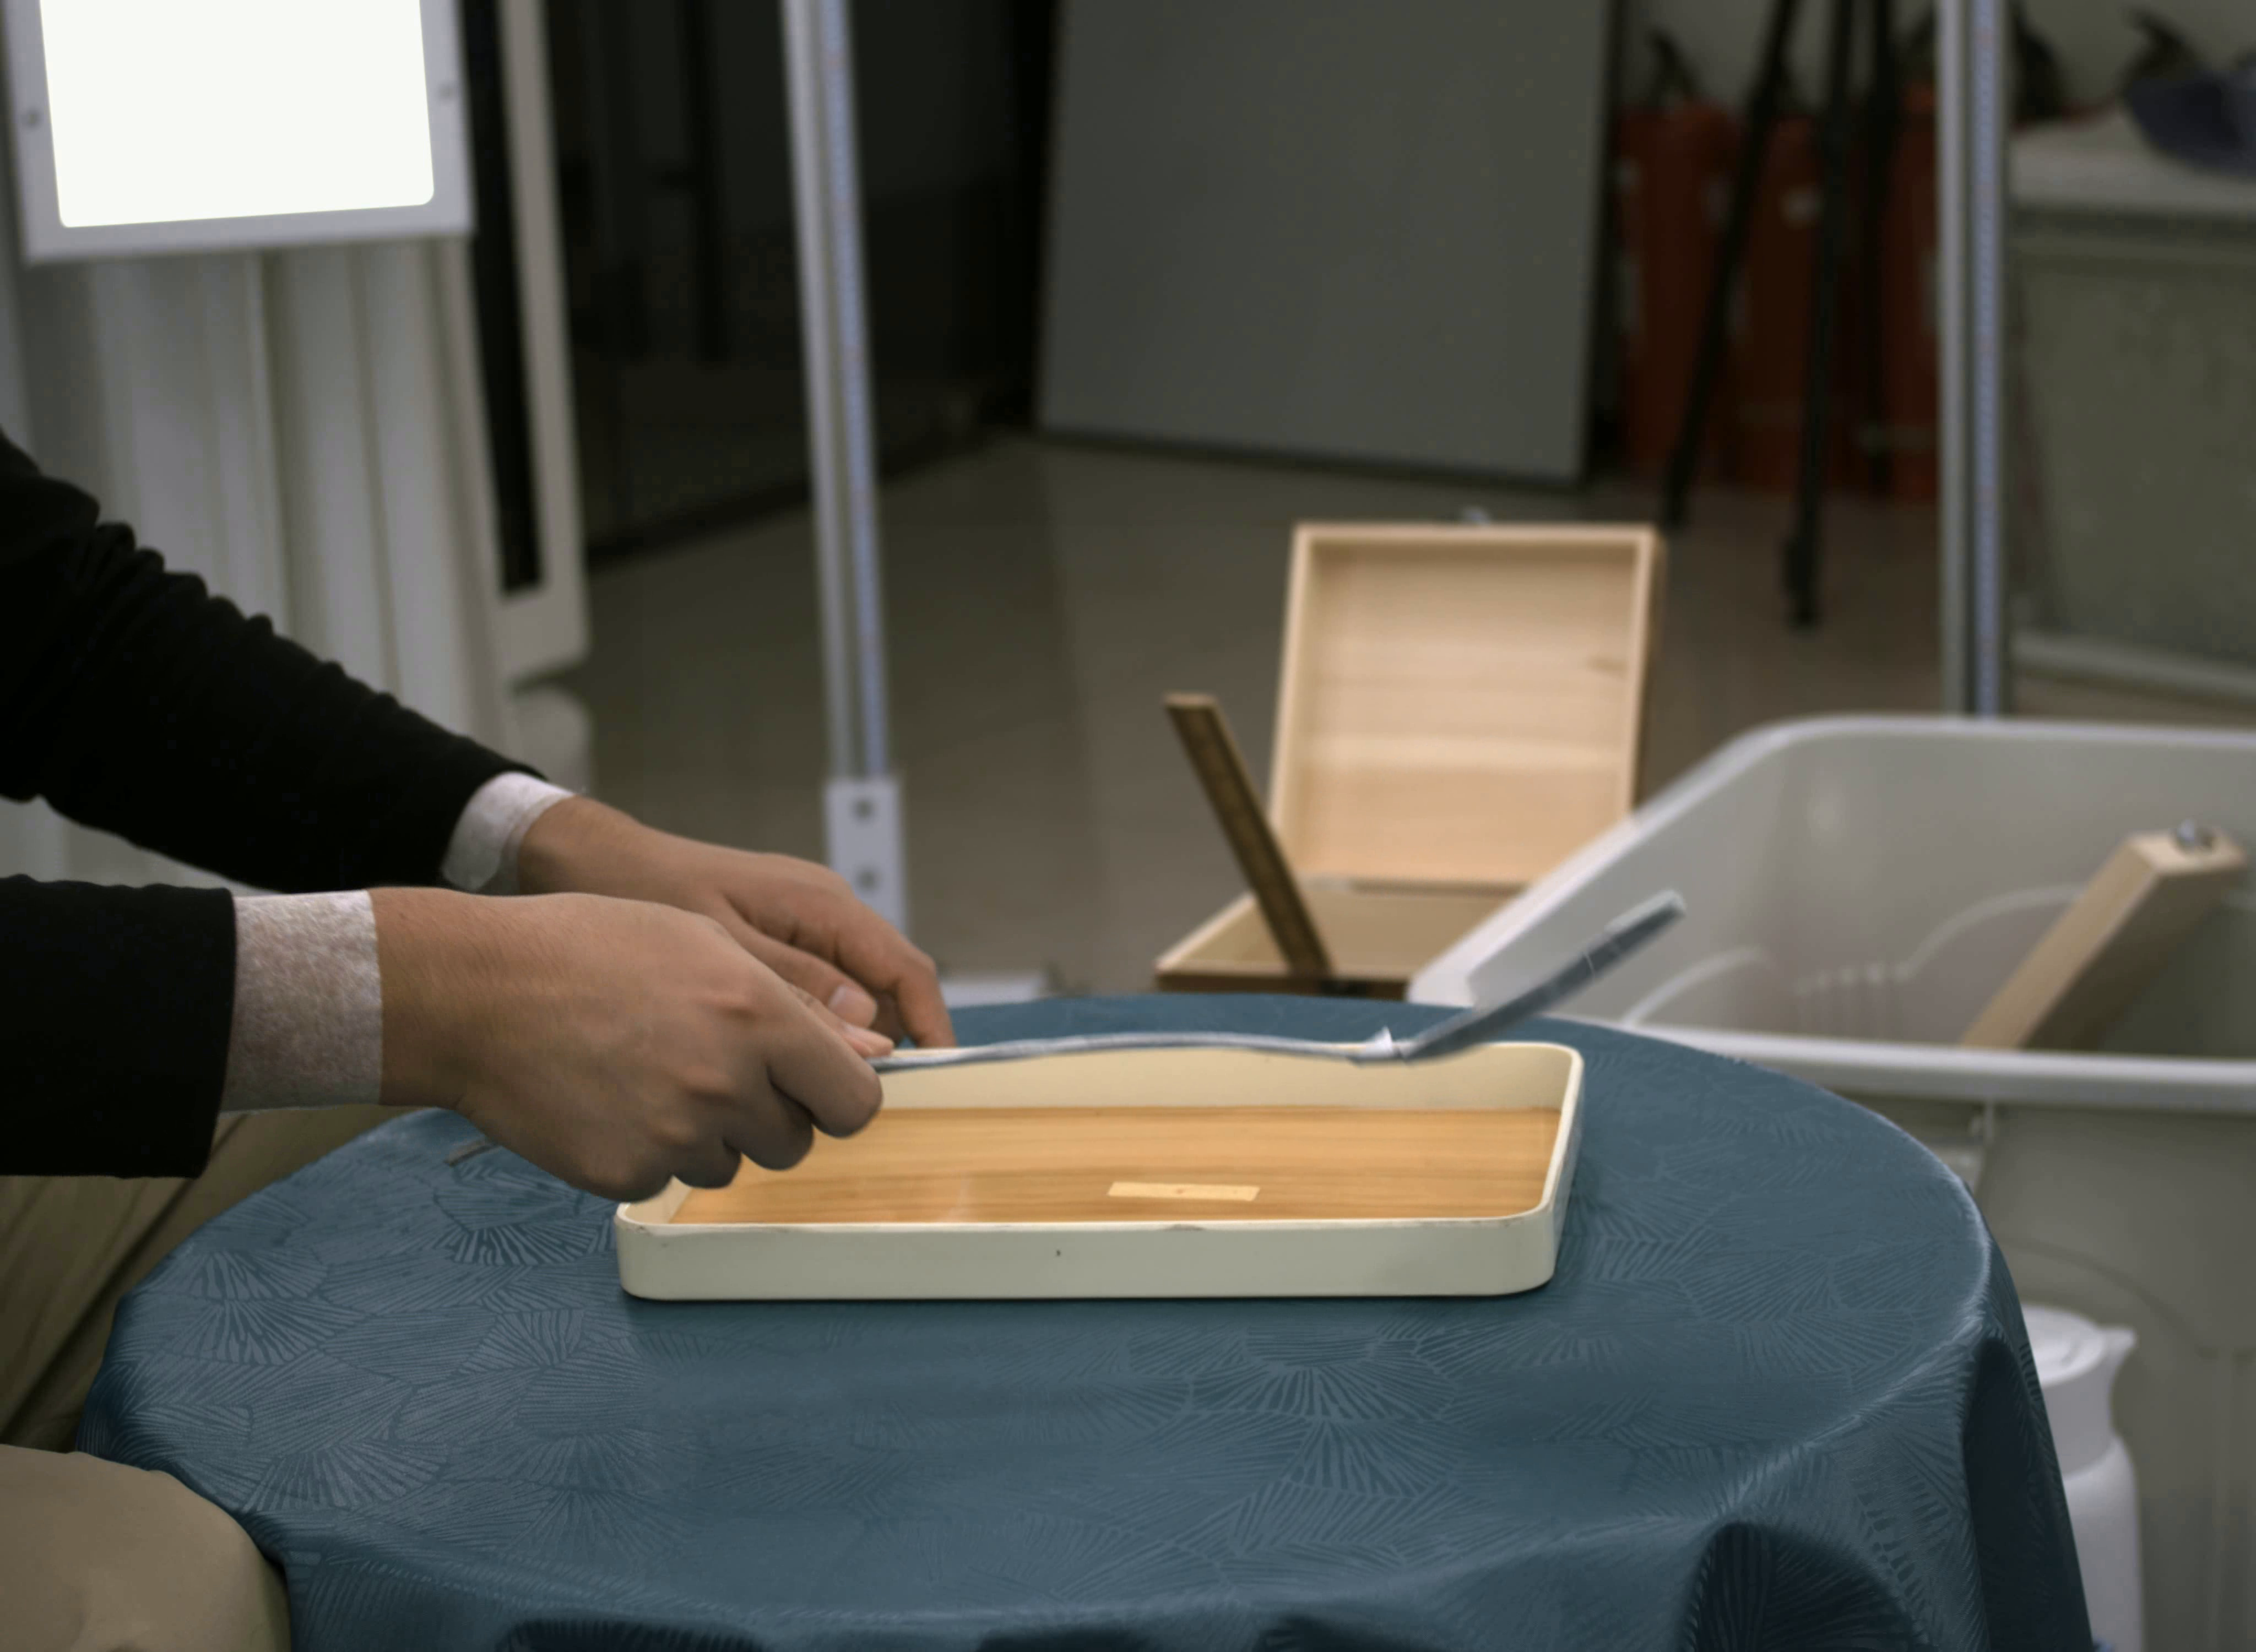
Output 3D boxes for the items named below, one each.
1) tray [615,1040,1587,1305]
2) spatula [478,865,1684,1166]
[{"bbox_3d":[-0.004,0.112,1.752,0.298,0.028,0.191,-2,14,11],"label":"tray"},{"bbox_3d":[-0.014,0.056,1.574,0.360,0.045,0.098,-7,-4,1],"label":"spatula"}]
